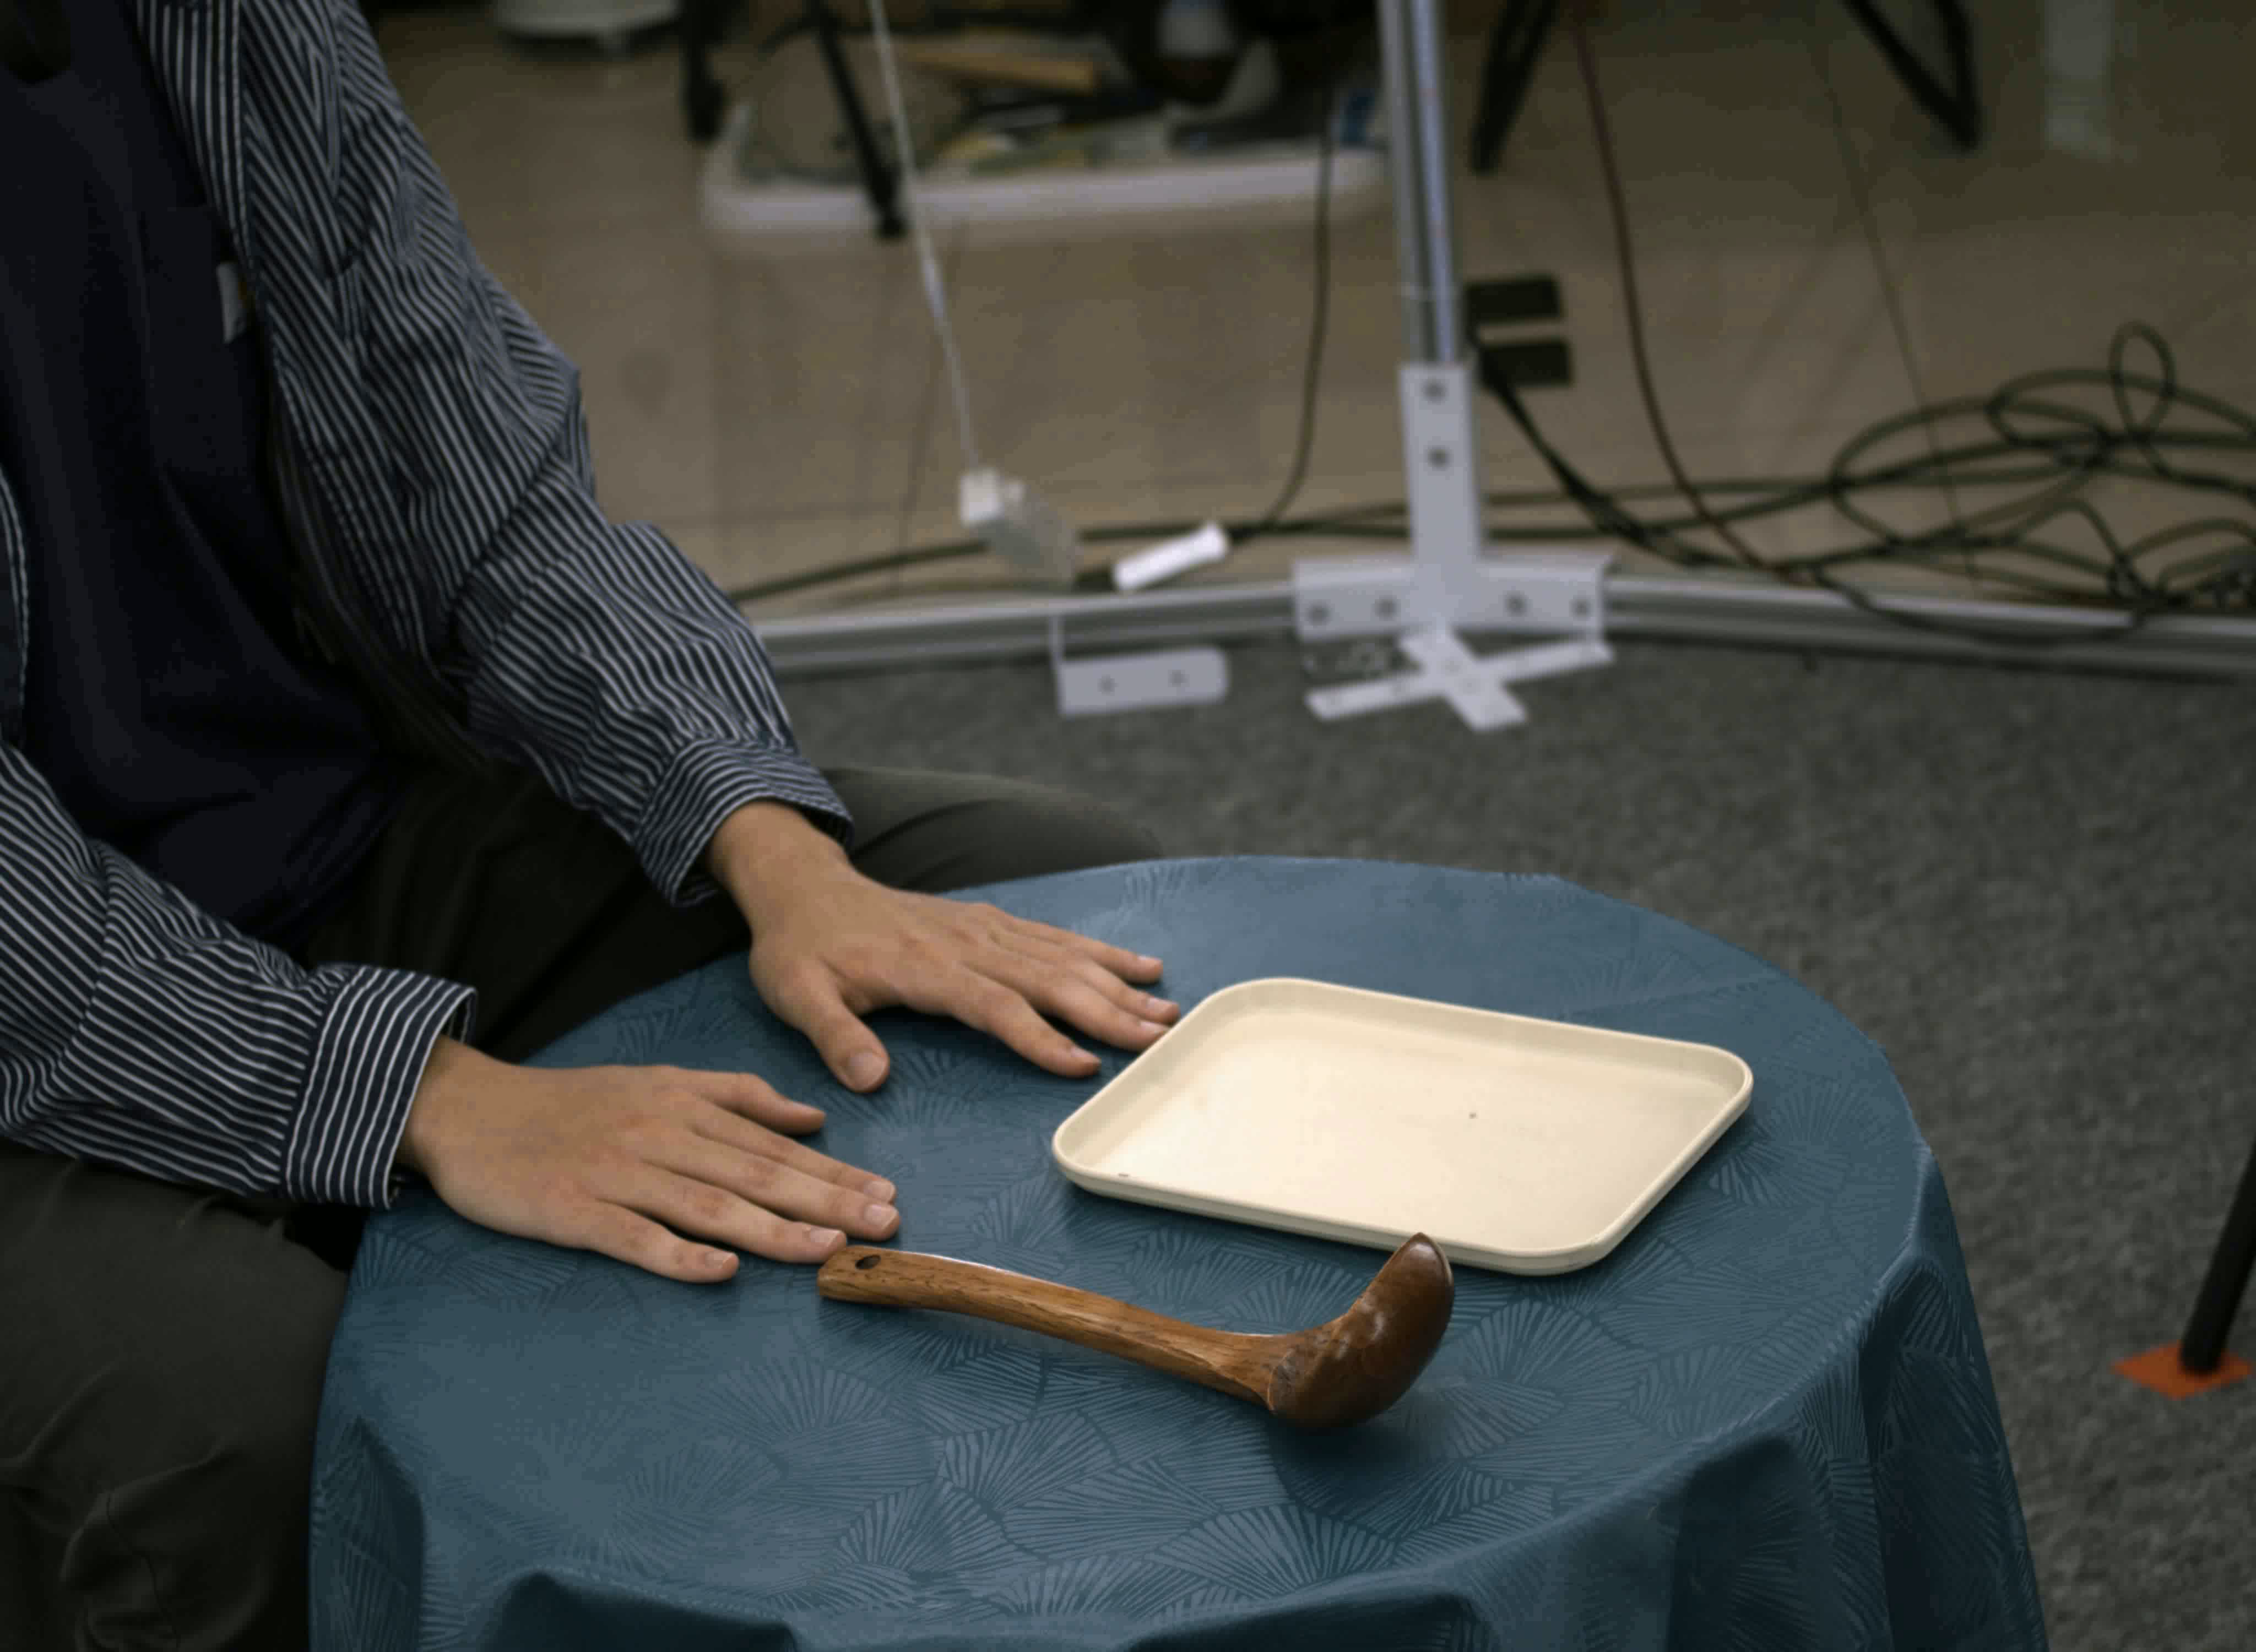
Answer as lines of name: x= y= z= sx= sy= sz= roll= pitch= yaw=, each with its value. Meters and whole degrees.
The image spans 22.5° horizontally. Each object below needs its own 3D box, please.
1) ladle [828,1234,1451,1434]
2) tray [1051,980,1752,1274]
ladle: x=-0.006 y=0.159 z=2.019 sx=0.272 sy=0.078 sz=0.081 roll=13 pitch=36 yaw=35
tray: x=0.104 y=0.114 z=2.157 sx=0.238 sy=0.018 sz=0.169 roll=9 pitch=29 yaw=30
